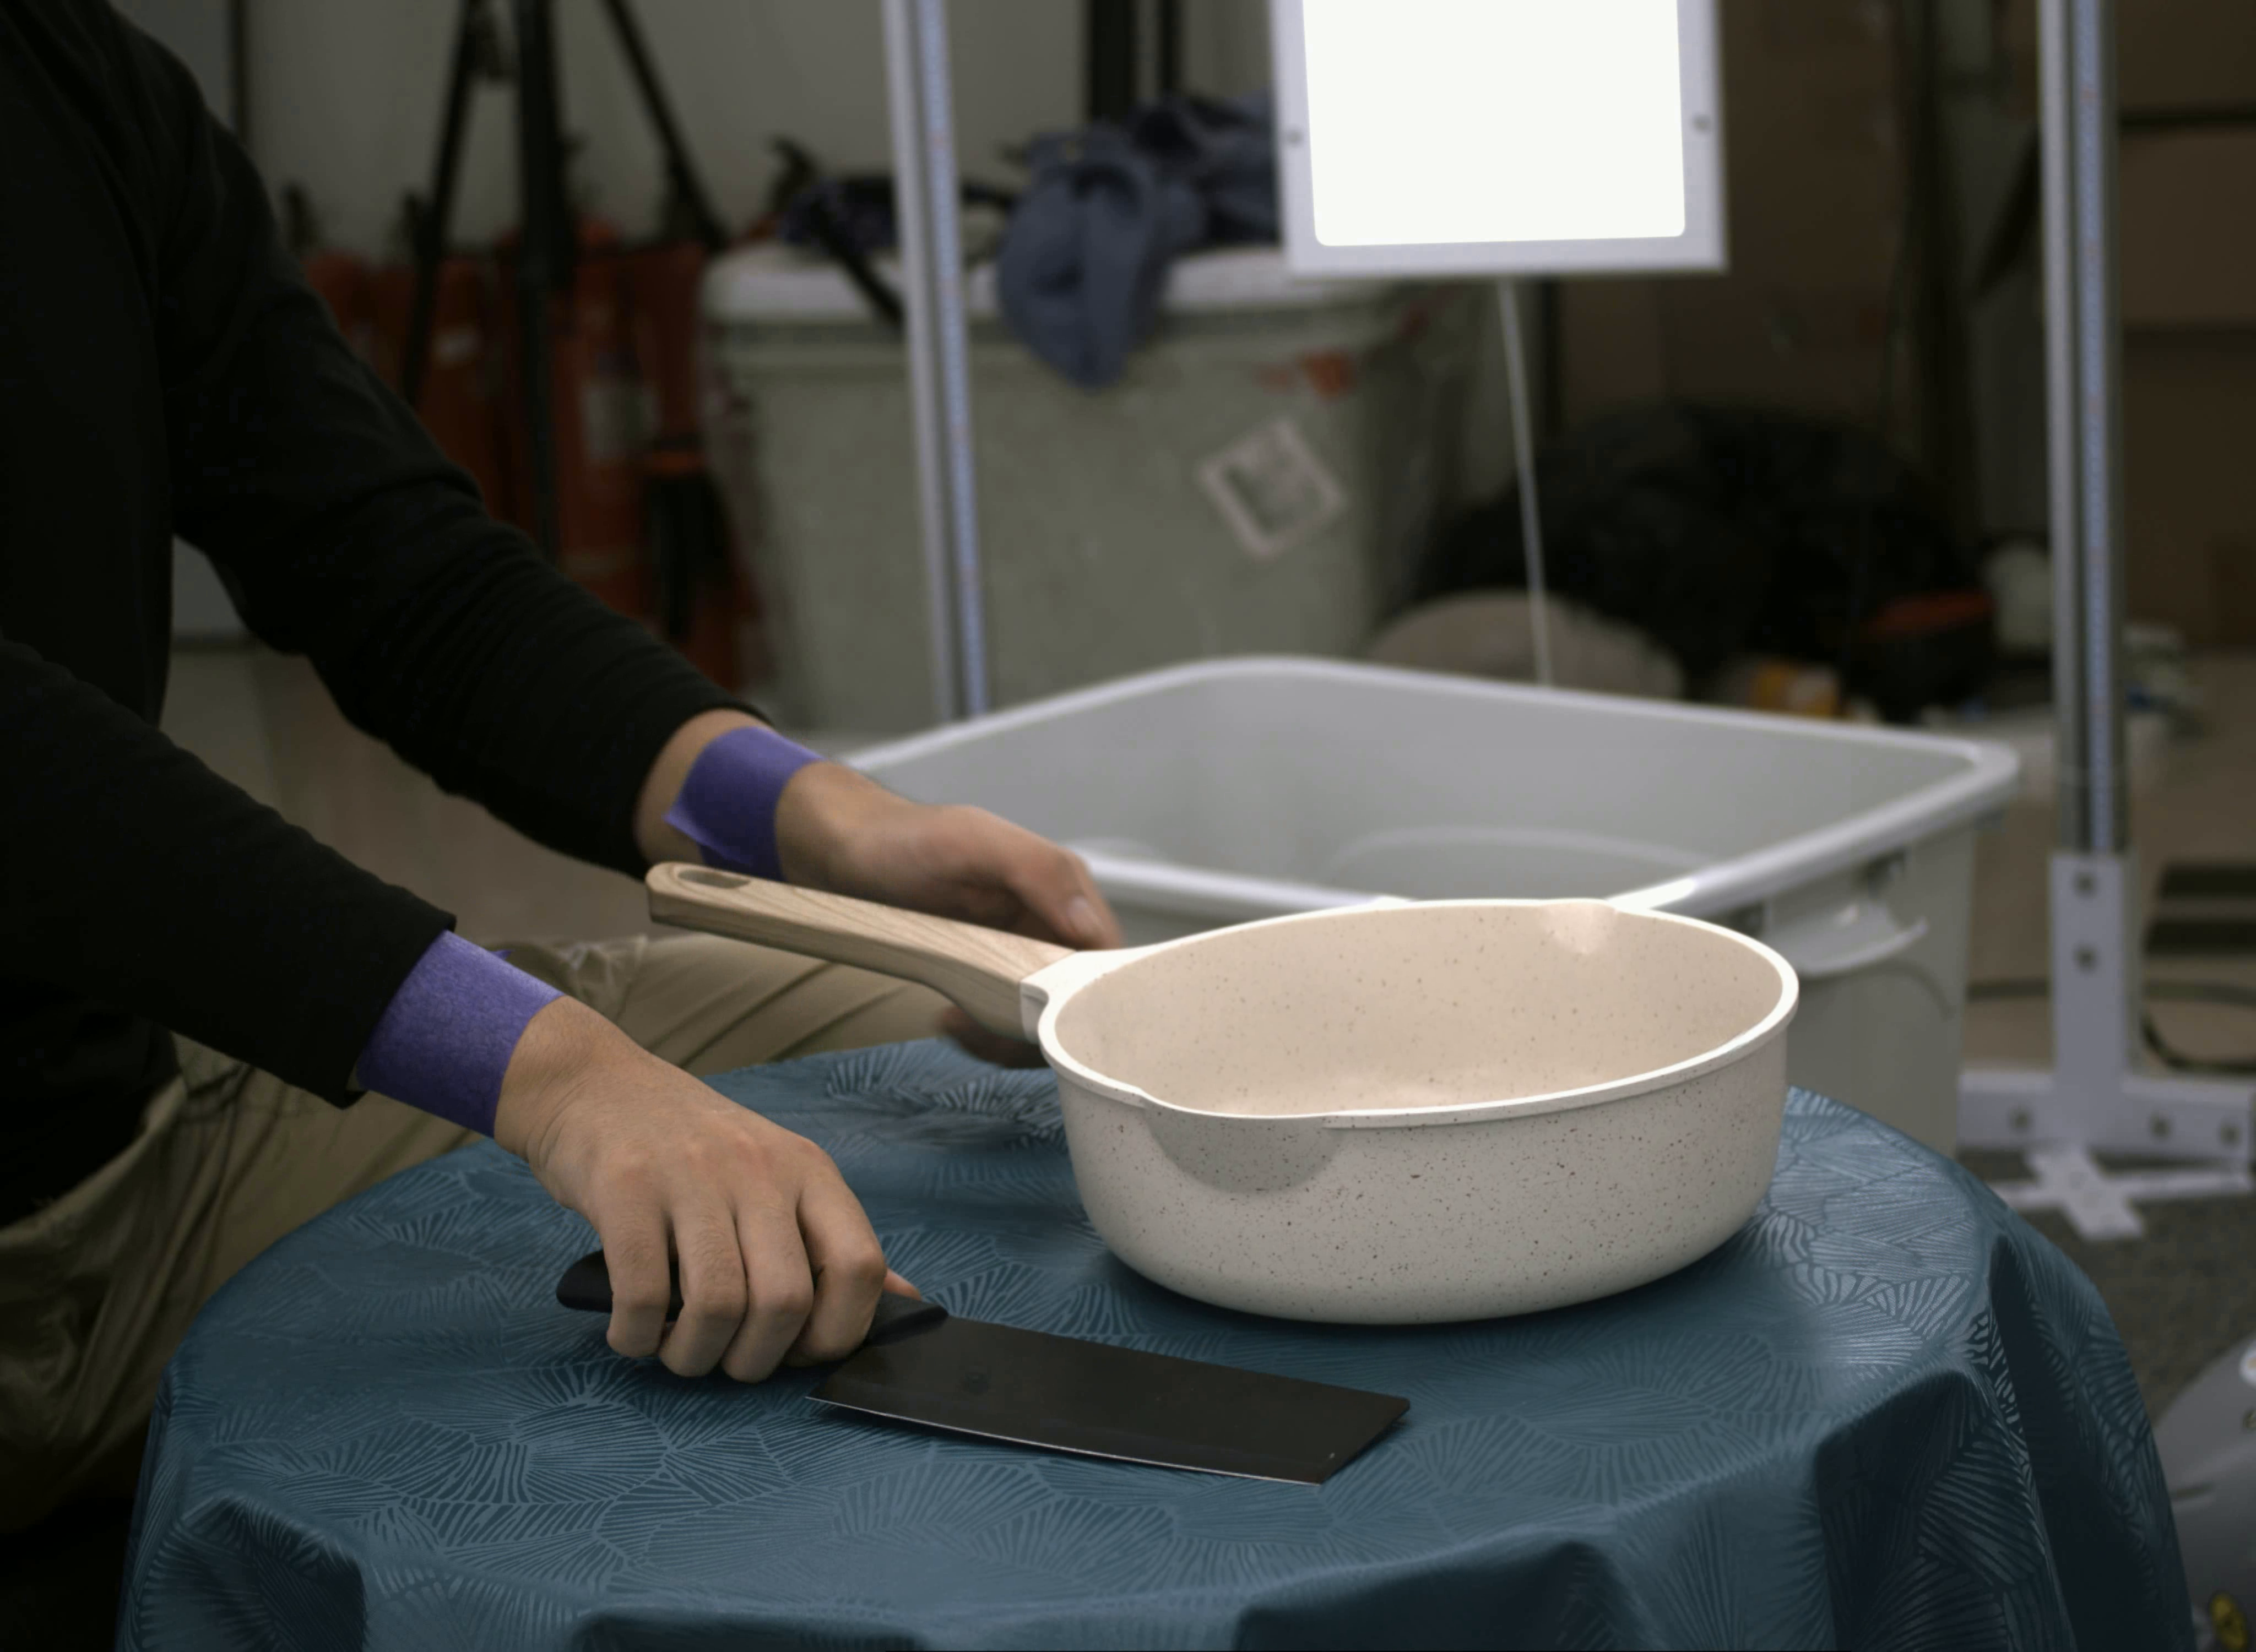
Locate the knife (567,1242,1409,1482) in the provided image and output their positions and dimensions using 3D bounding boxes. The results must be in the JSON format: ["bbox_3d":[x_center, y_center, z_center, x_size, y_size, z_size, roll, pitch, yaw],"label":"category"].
[{"bbox_3d":[-0.054,0.166,1.715,0.308,0.021,0.079,9,24,37],"label":"knife"}]

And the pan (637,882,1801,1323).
[{"bbox_3d":[0.020,0.081,1.868,0.443,0.102,0.257,4,18,32],"label":"pan"}]
